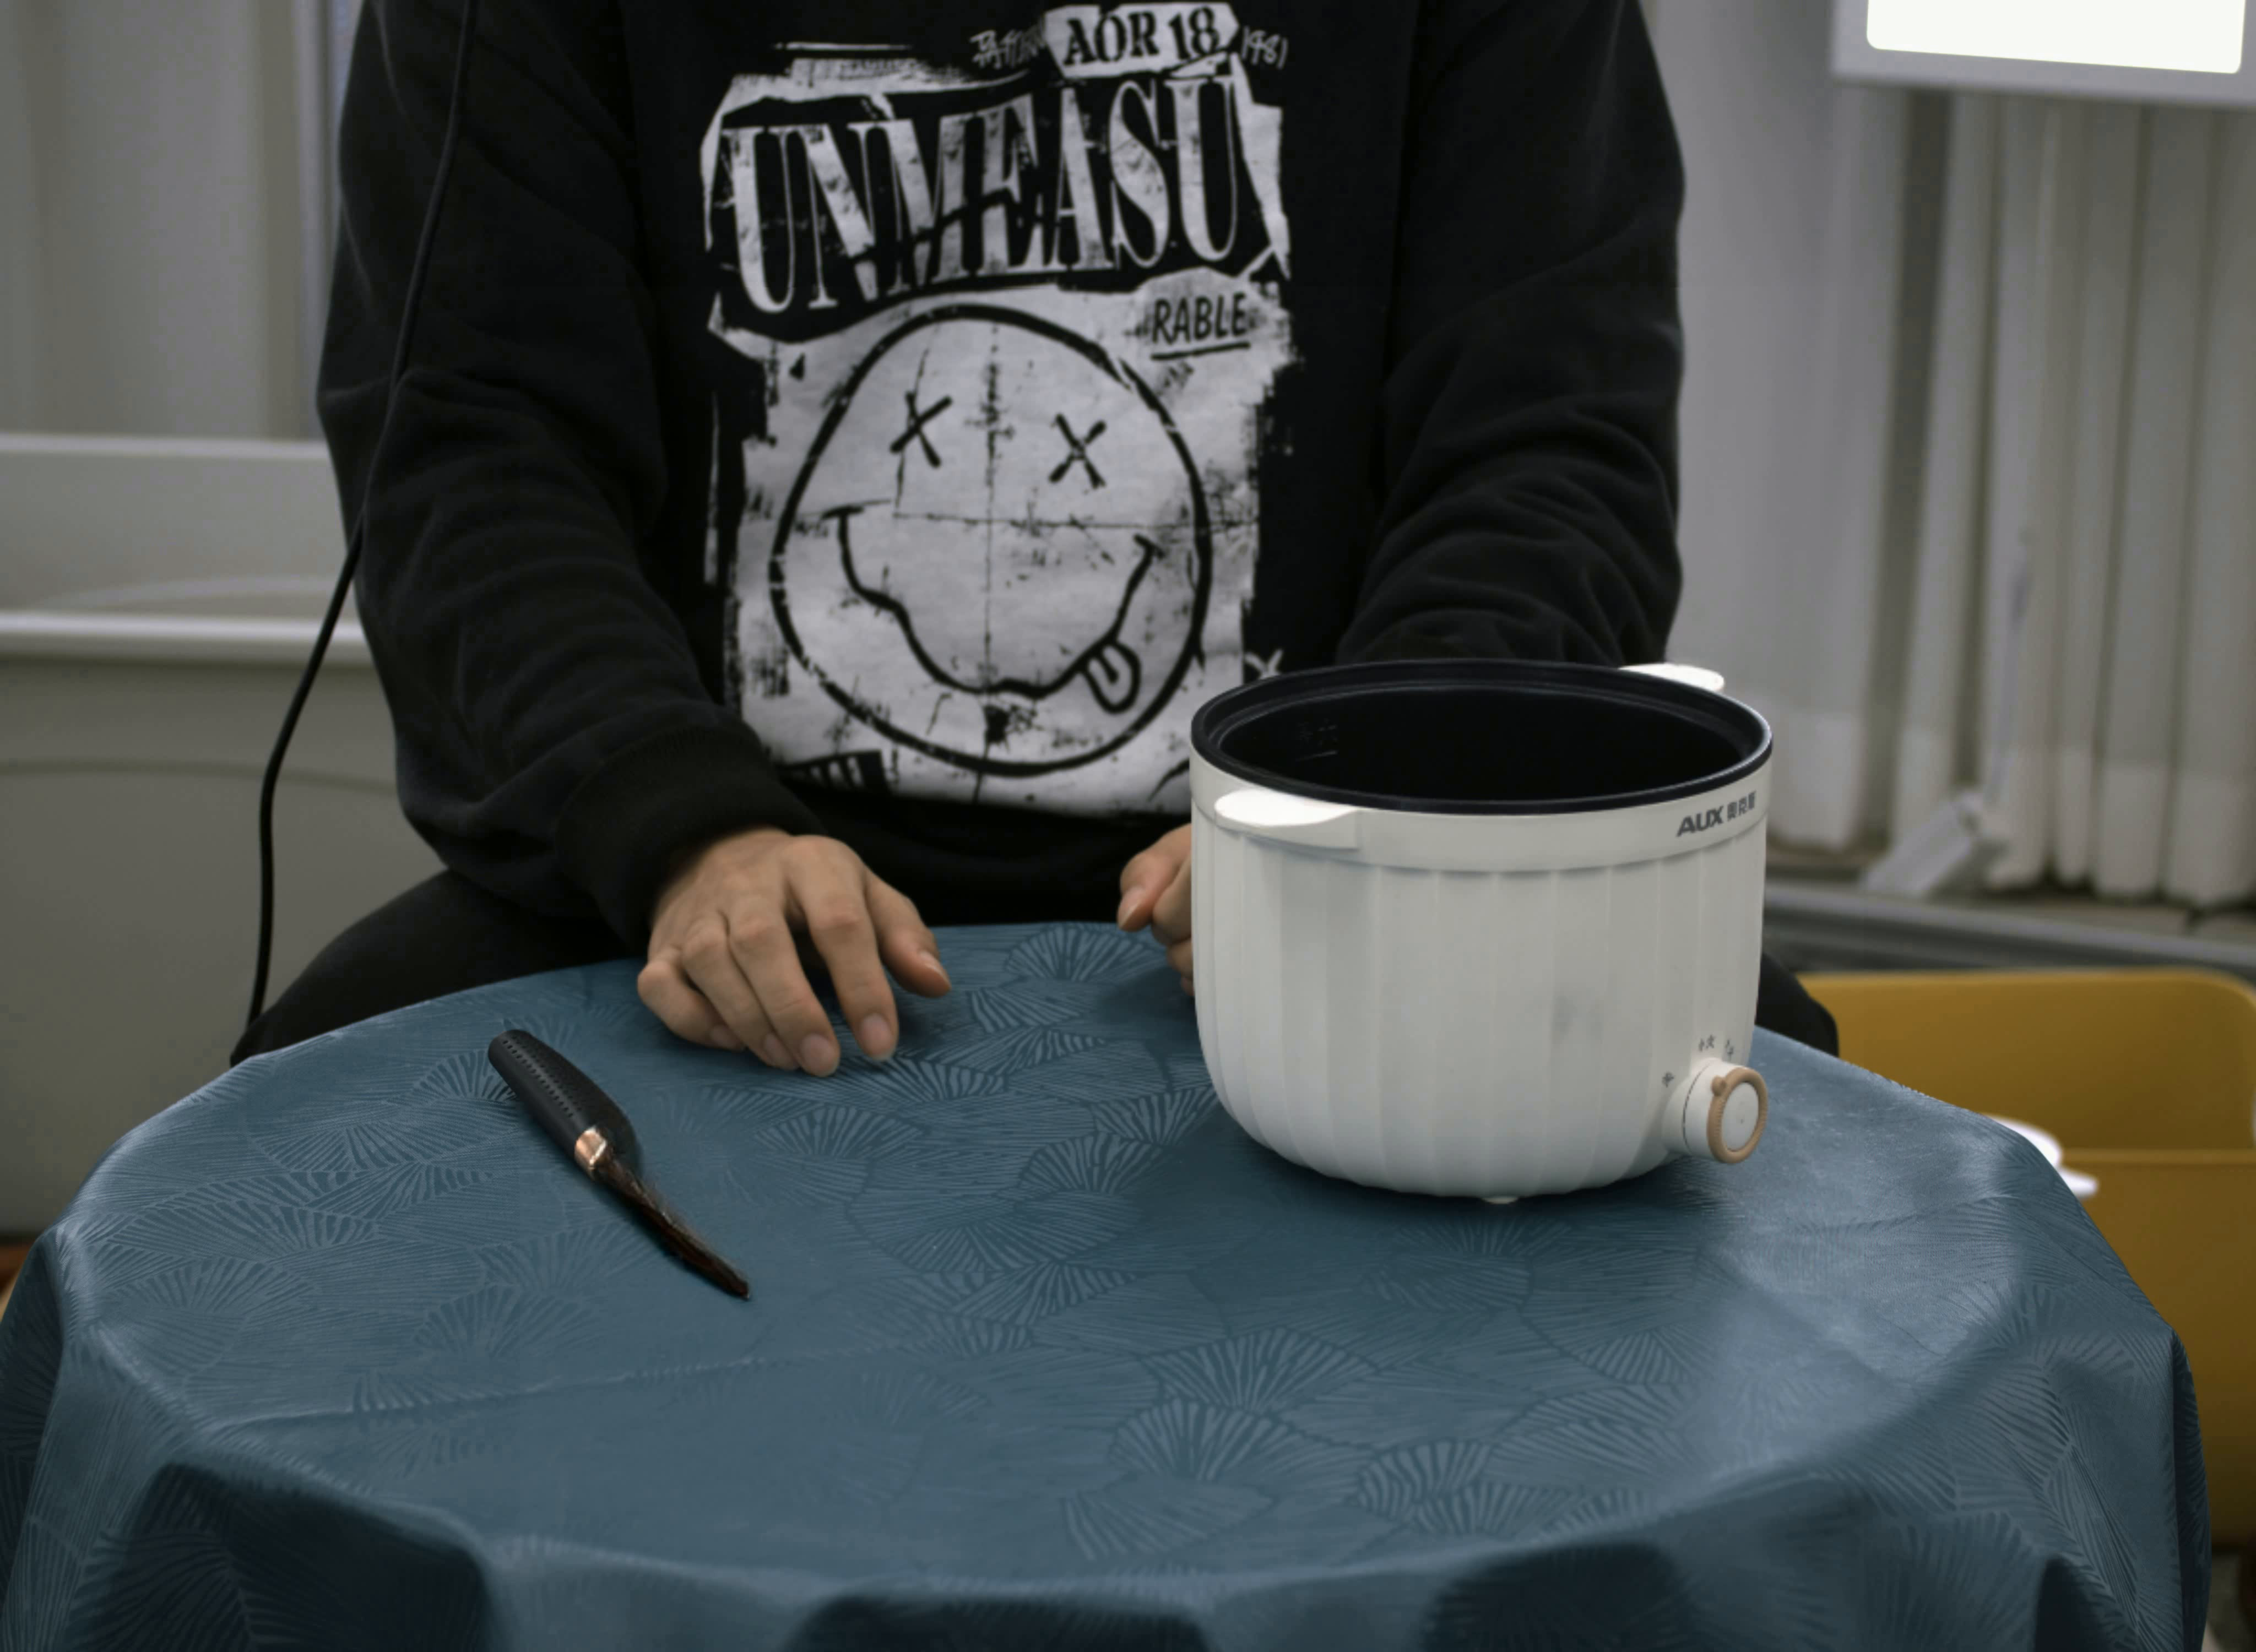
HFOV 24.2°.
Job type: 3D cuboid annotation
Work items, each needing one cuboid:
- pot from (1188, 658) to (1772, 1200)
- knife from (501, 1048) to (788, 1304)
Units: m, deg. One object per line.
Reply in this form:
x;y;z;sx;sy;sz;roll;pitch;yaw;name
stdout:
0.114;0.033;1.651;0.188;0.144;0.241;9;19;38;pot
-0.152;0.107;1.622;0.026;0.017;0.223;10;11;-28;knife
